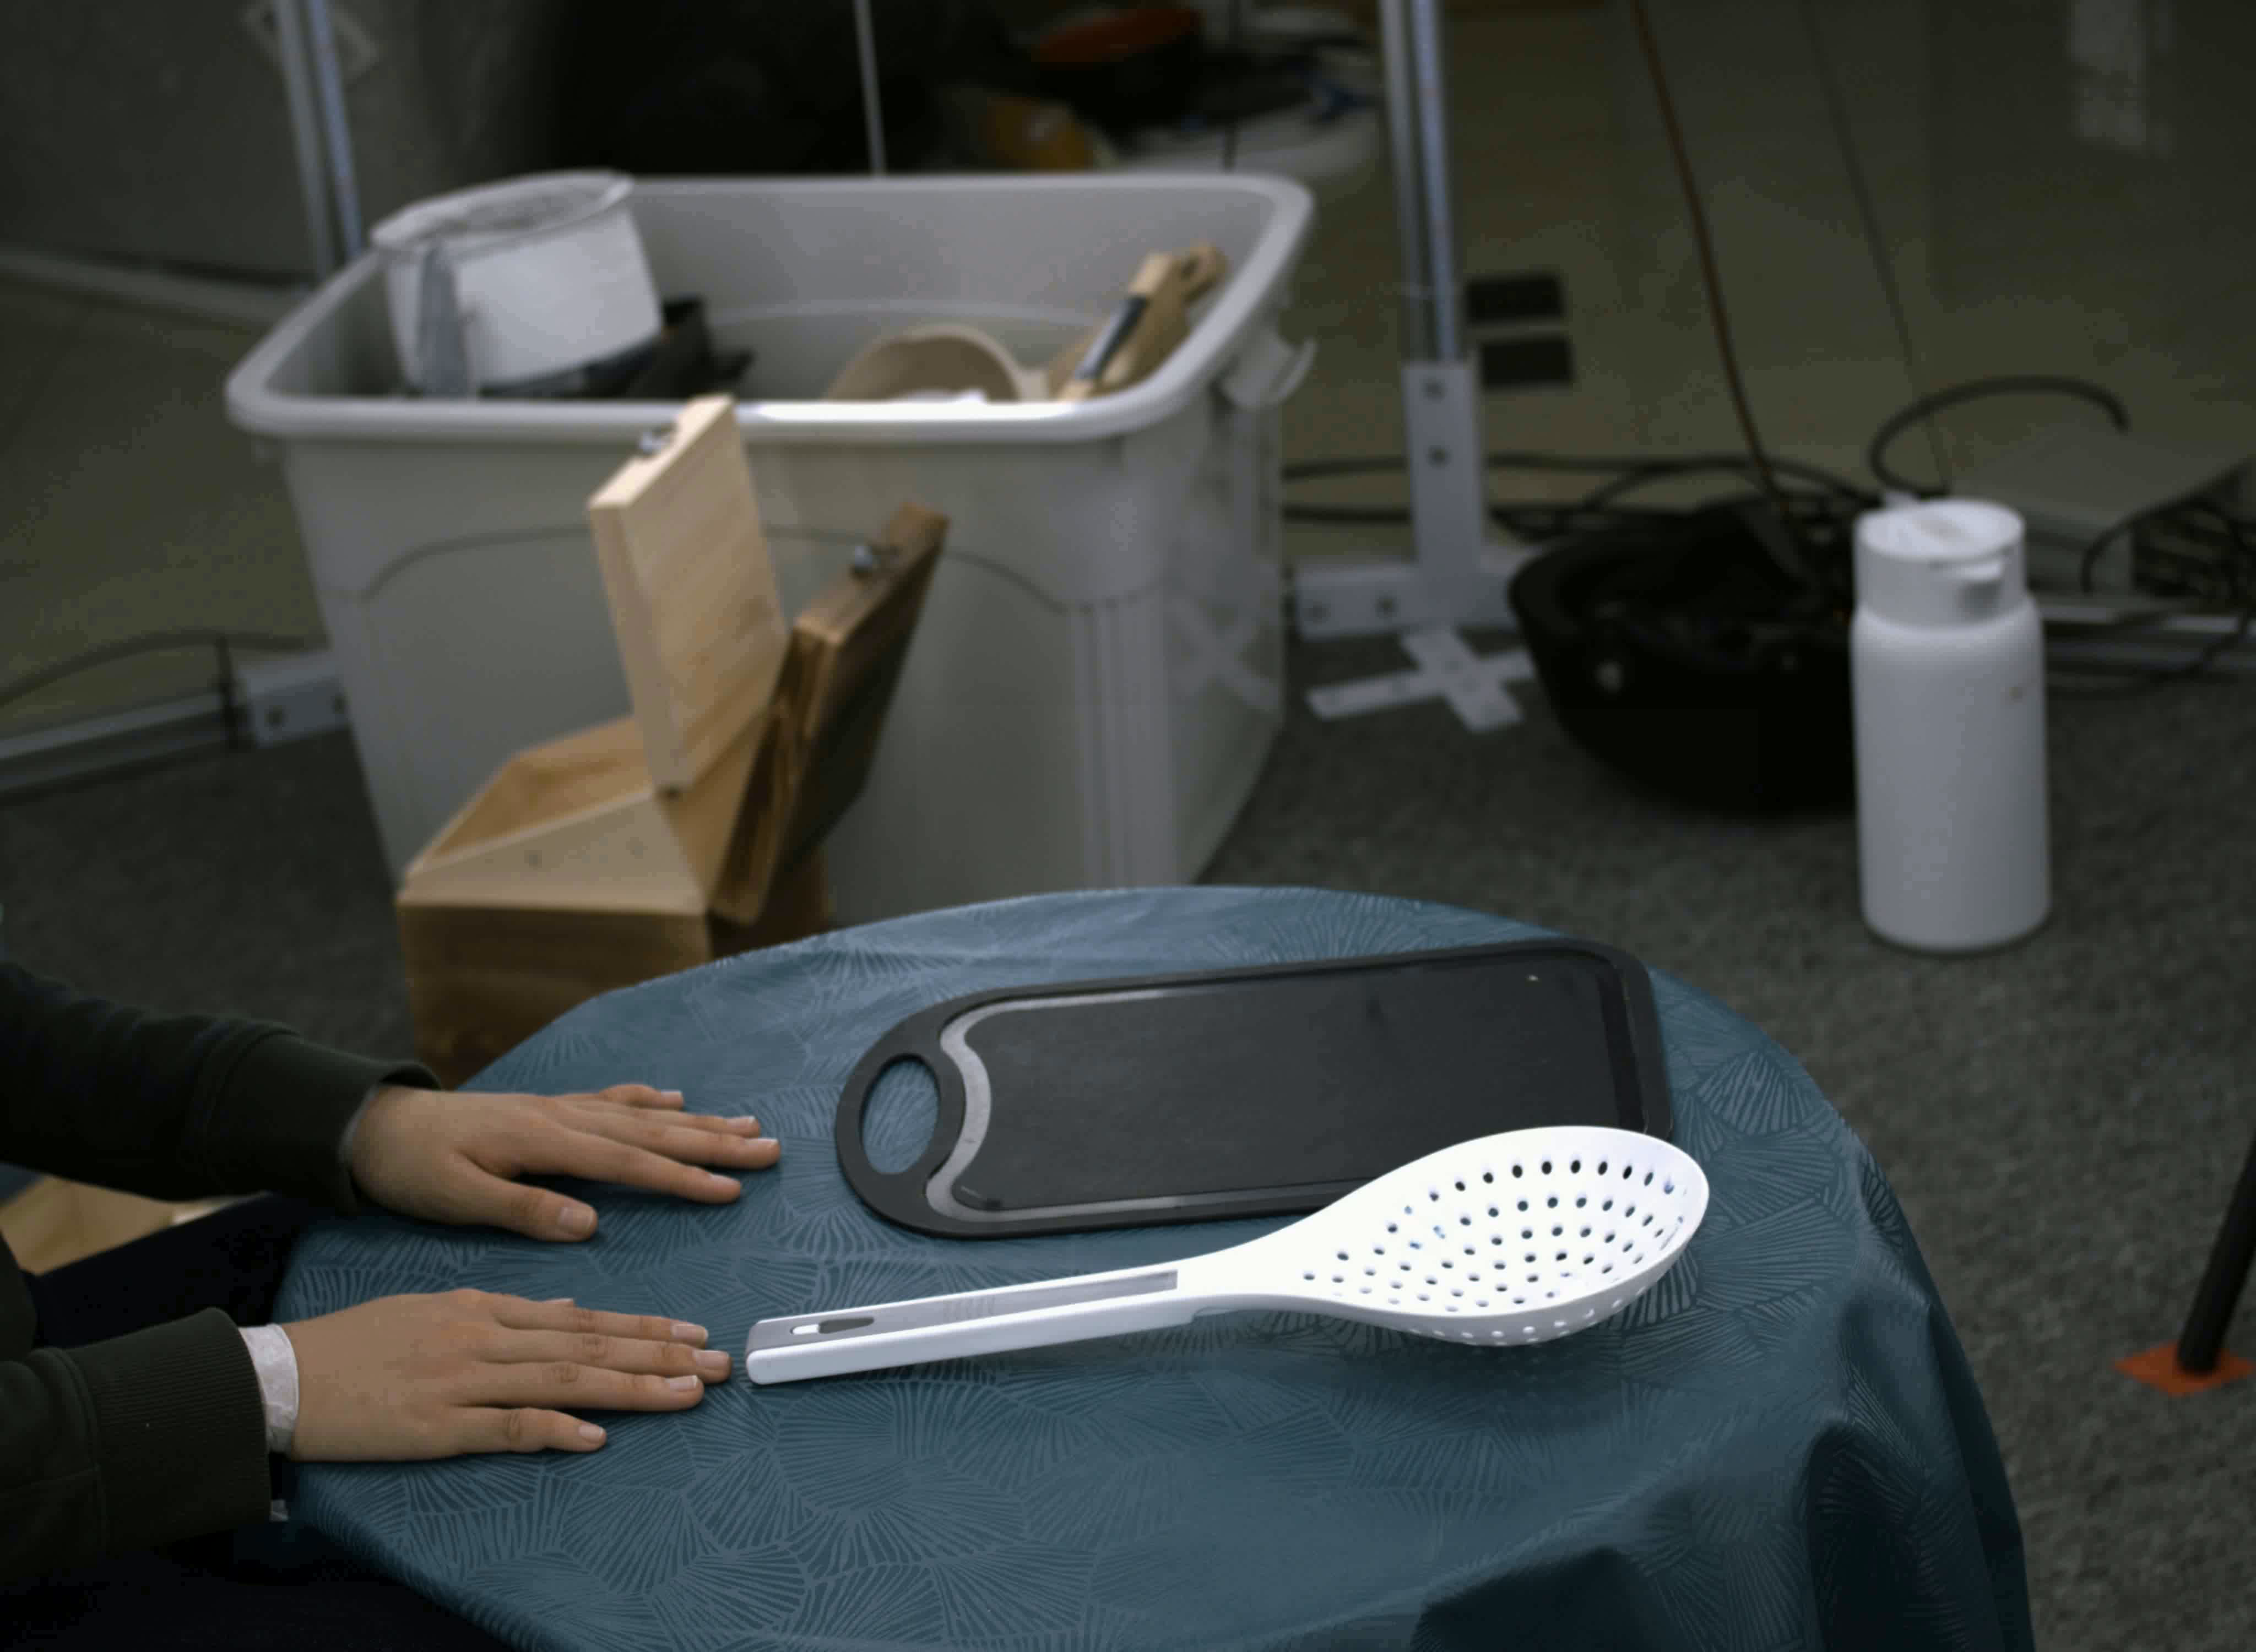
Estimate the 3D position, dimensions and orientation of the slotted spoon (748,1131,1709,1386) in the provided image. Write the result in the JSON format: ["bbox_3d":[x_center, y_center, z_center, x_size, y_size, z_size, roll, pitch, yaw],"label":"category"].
[{"bbox_3d":[0.034,0.164,2.035,0.349,0.046,0.134,-5,23,5],"label":"slotted spoon"}]

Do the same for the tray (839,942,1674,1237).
[{"bbox_3d":[0.048,0.101,2.215,0.325,0.010,0.208,-5,24,4],"label":"tray"}]
